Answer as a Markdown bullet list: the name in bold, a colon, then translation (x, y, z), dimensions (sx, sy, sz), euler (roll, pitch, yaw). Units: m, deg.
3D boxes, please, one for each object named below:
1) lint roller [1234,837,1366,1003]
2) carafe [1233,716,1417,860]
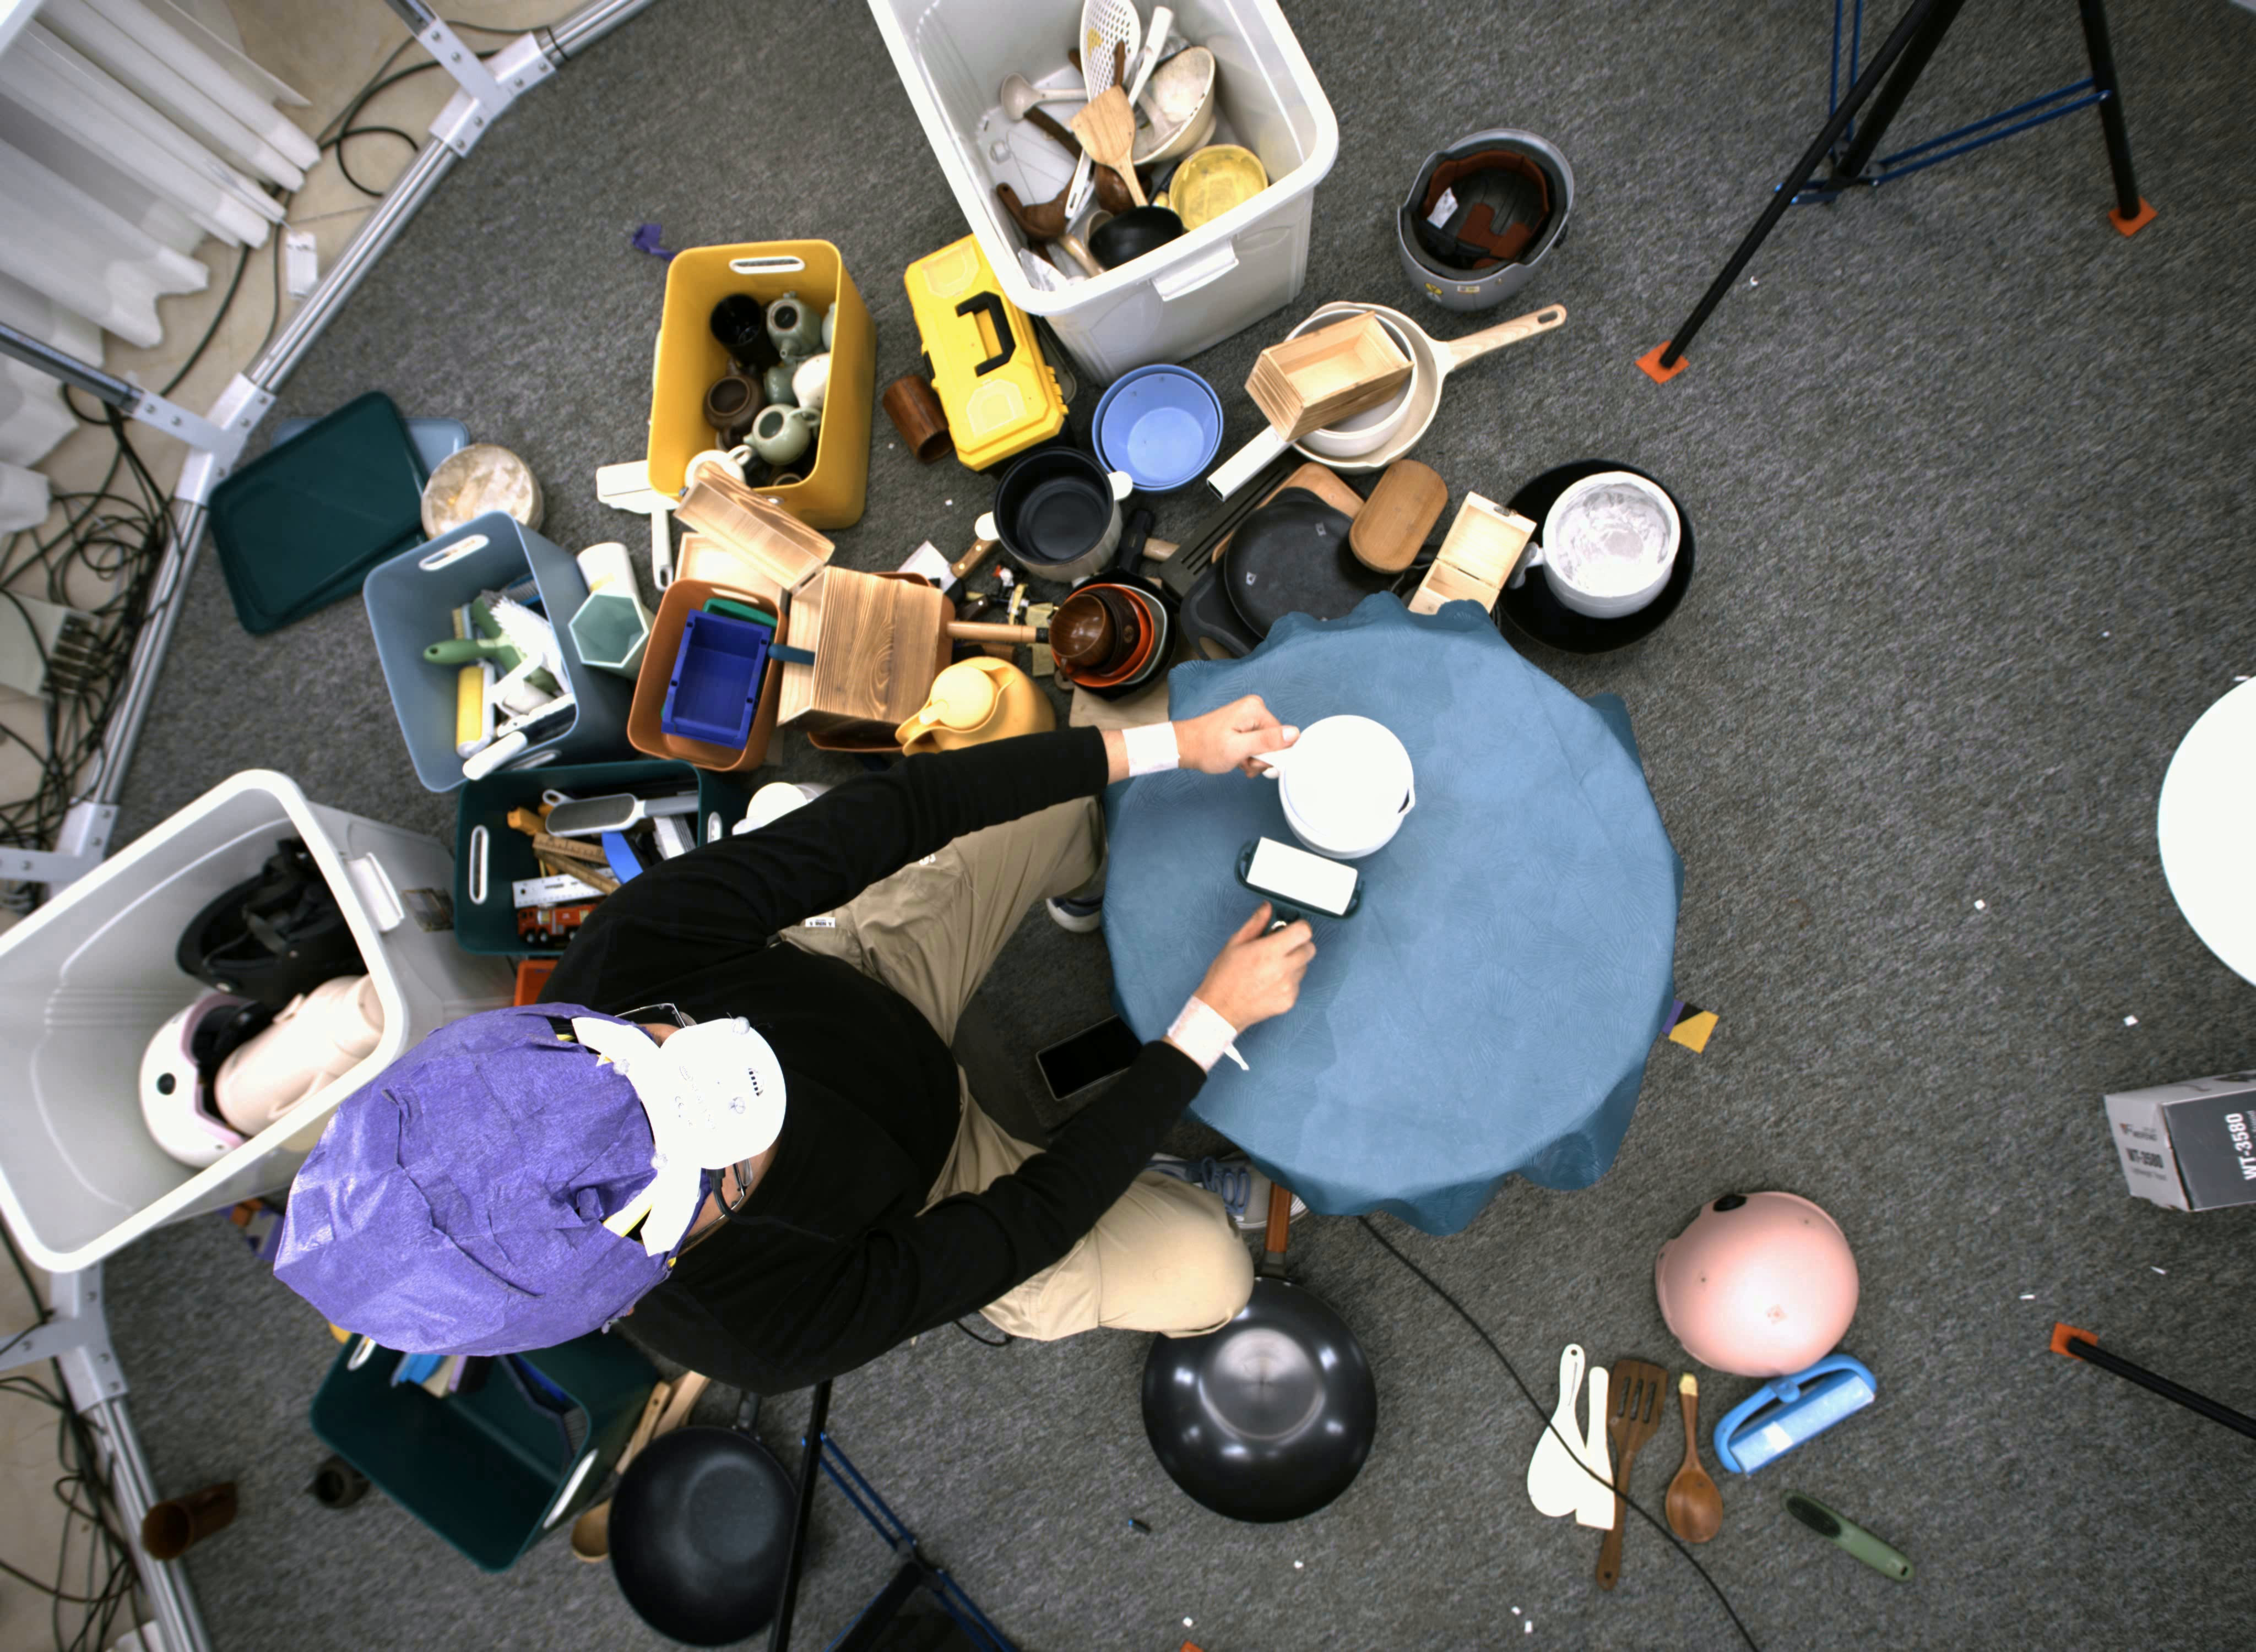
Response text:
- **lint roller**: translation (0.151, 0.107, 1.394), dimensions (0.134, 0.047, 0.183), euler (19, 112, 4)
- **carafe**: translation (0.196, -0.046, 1.391), dimensions (0.191, 0.183, 0.132), euler (20, 88, 11)
